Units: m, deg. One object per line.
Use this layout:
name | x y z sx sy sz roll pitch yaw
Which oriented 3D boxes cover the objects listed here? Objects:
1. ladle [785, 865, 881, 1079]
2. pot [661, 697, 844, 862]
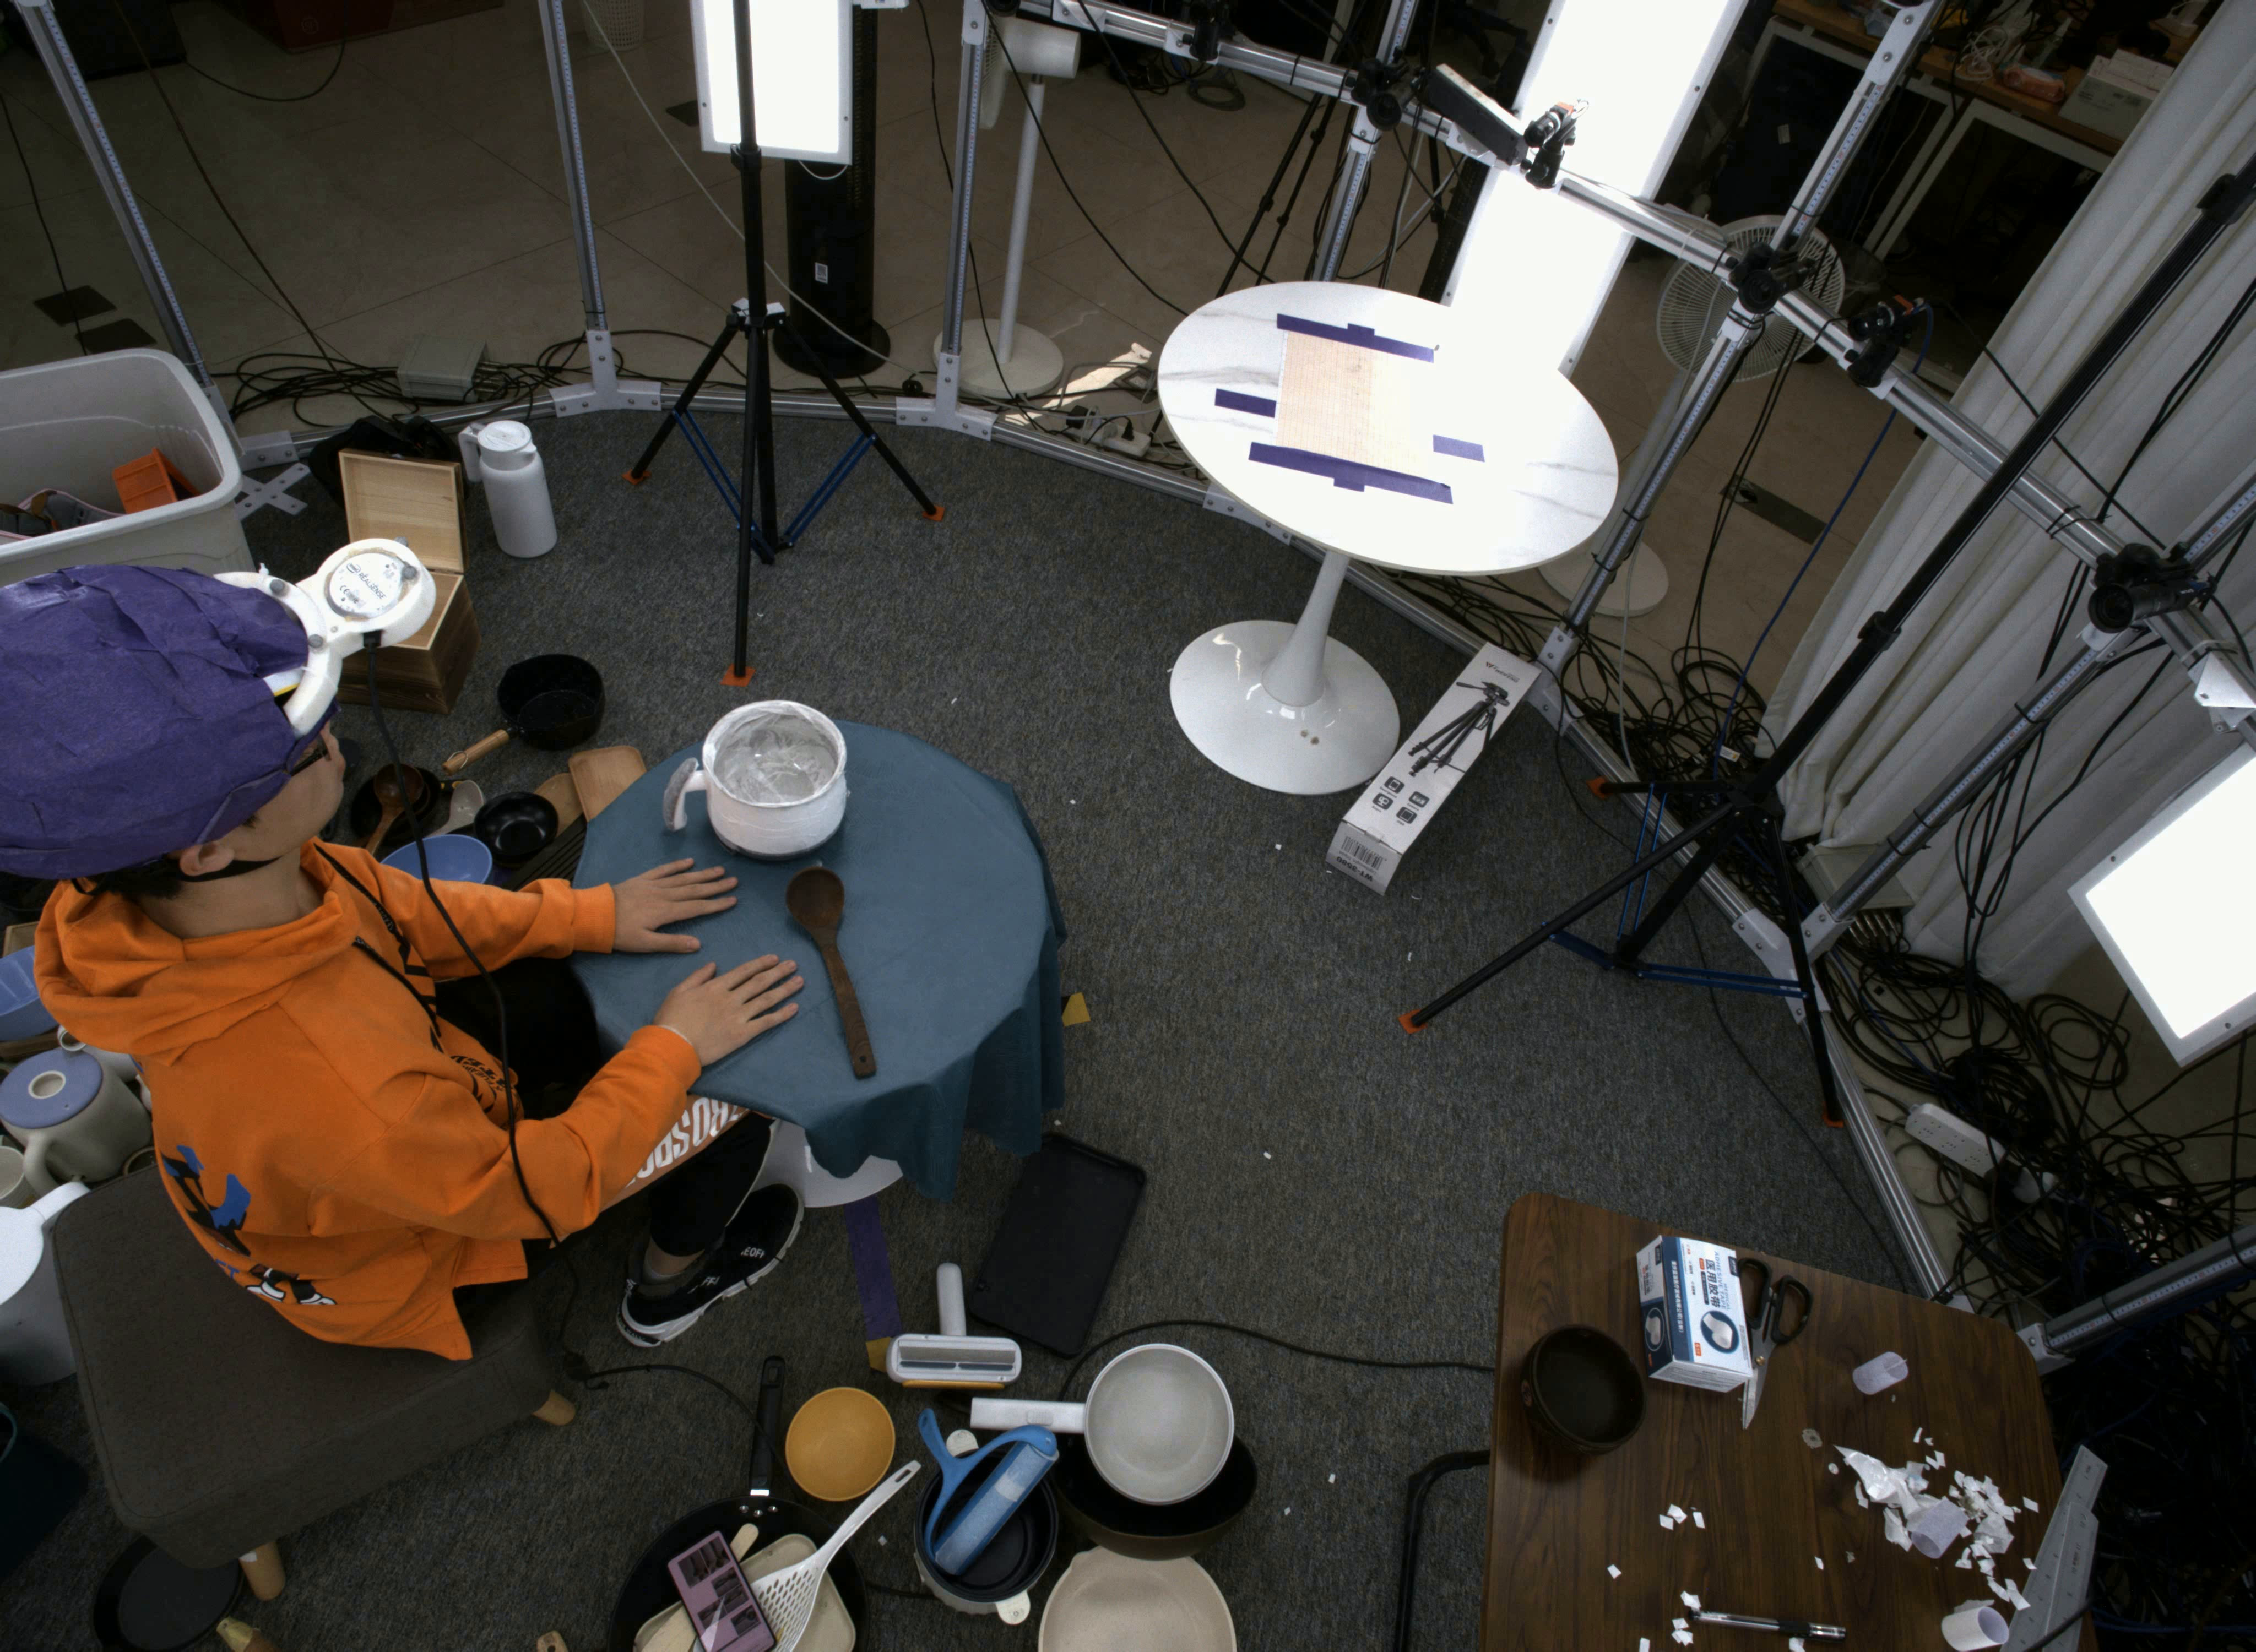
ladle | -0.348 0.168 1.563 0.076 0.073 0.267 -14 58 -20
pot | -0.479 -0.051 1.648 0.235 0.139 0.174 -11 56 -22
